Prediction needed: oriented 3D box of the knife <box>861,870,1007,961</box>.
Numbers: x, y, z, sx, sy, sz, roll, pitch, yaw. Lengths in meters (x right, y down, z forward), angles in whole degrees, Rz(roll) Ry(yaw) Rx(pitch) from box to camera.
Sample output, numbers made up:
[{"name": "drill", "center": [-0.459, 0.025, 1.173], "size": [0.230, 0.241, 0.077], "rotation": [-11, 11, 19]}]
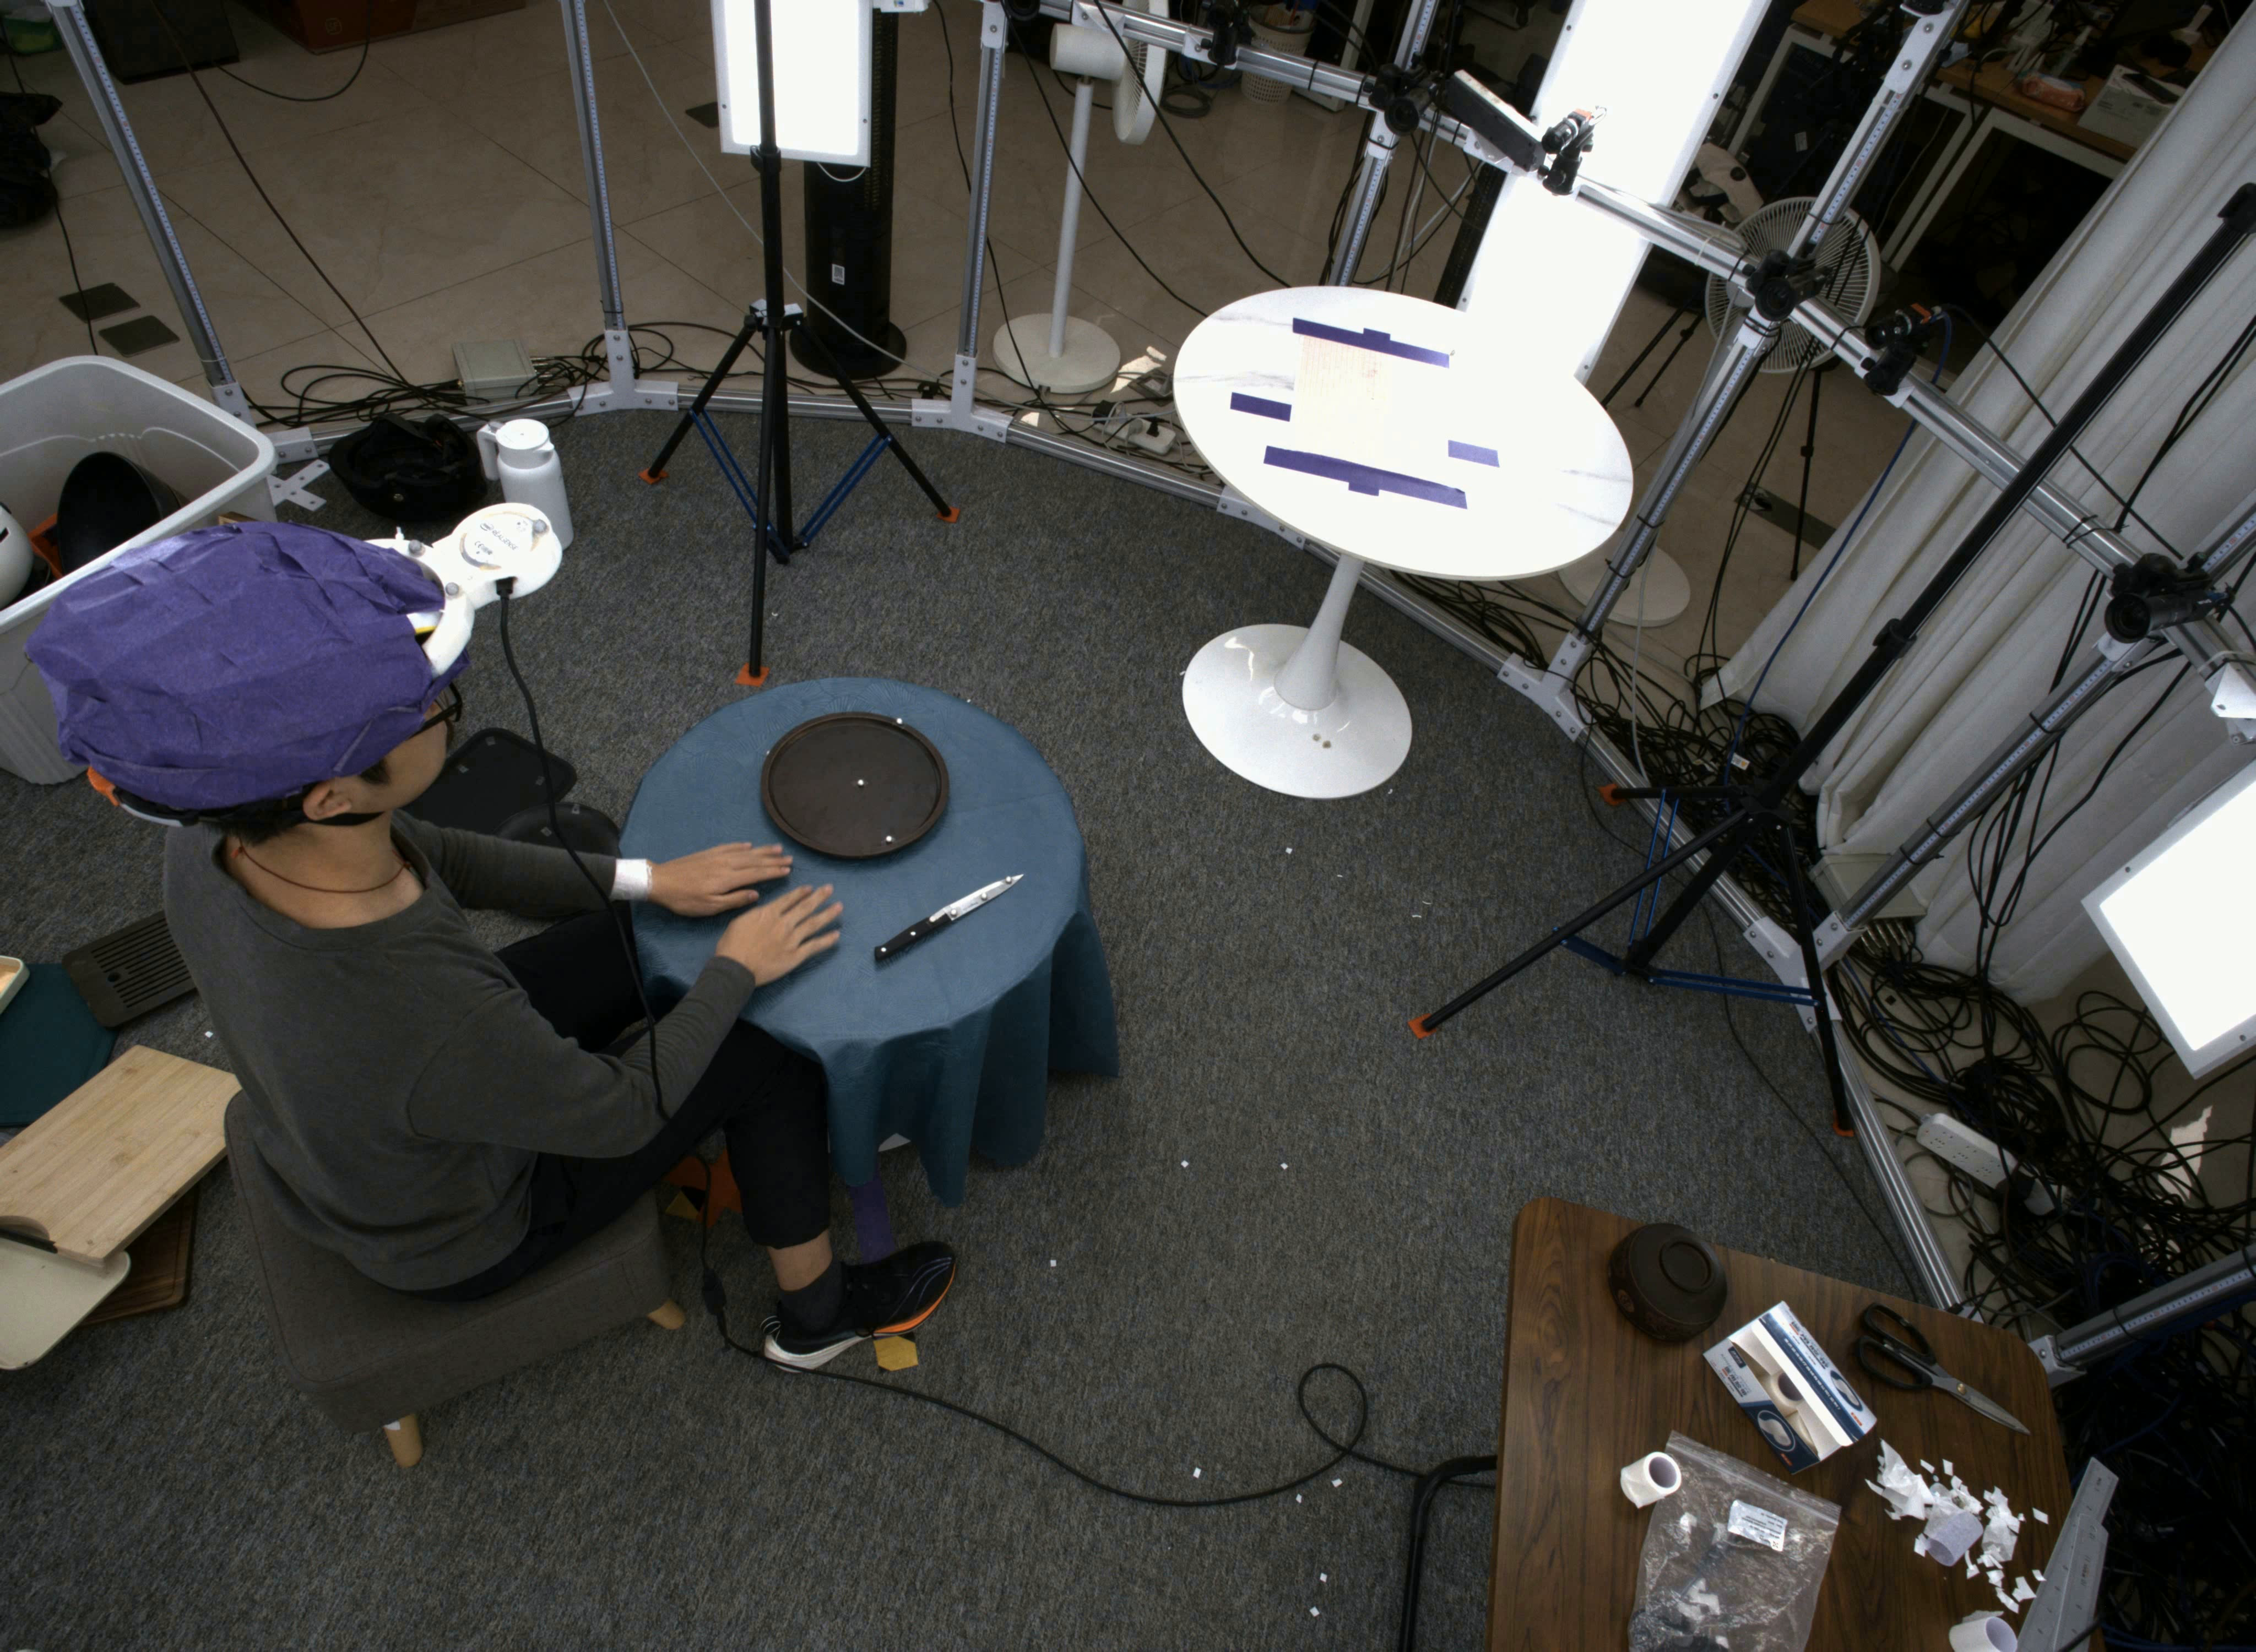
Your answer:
[{"name": "knife", "center": [-0.245, 0.112, 1.691], "size": [0.239, 0.016, 0.024], "rotation": [-31, 66, -34]}]

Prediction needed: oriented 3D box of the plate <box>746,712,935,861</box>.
[{"name": "plate", "center": [-0.391, -0.055, 1.770], "size": [0.254, 0.029, 0.250], "rotation": [8, 51, -8]}]
